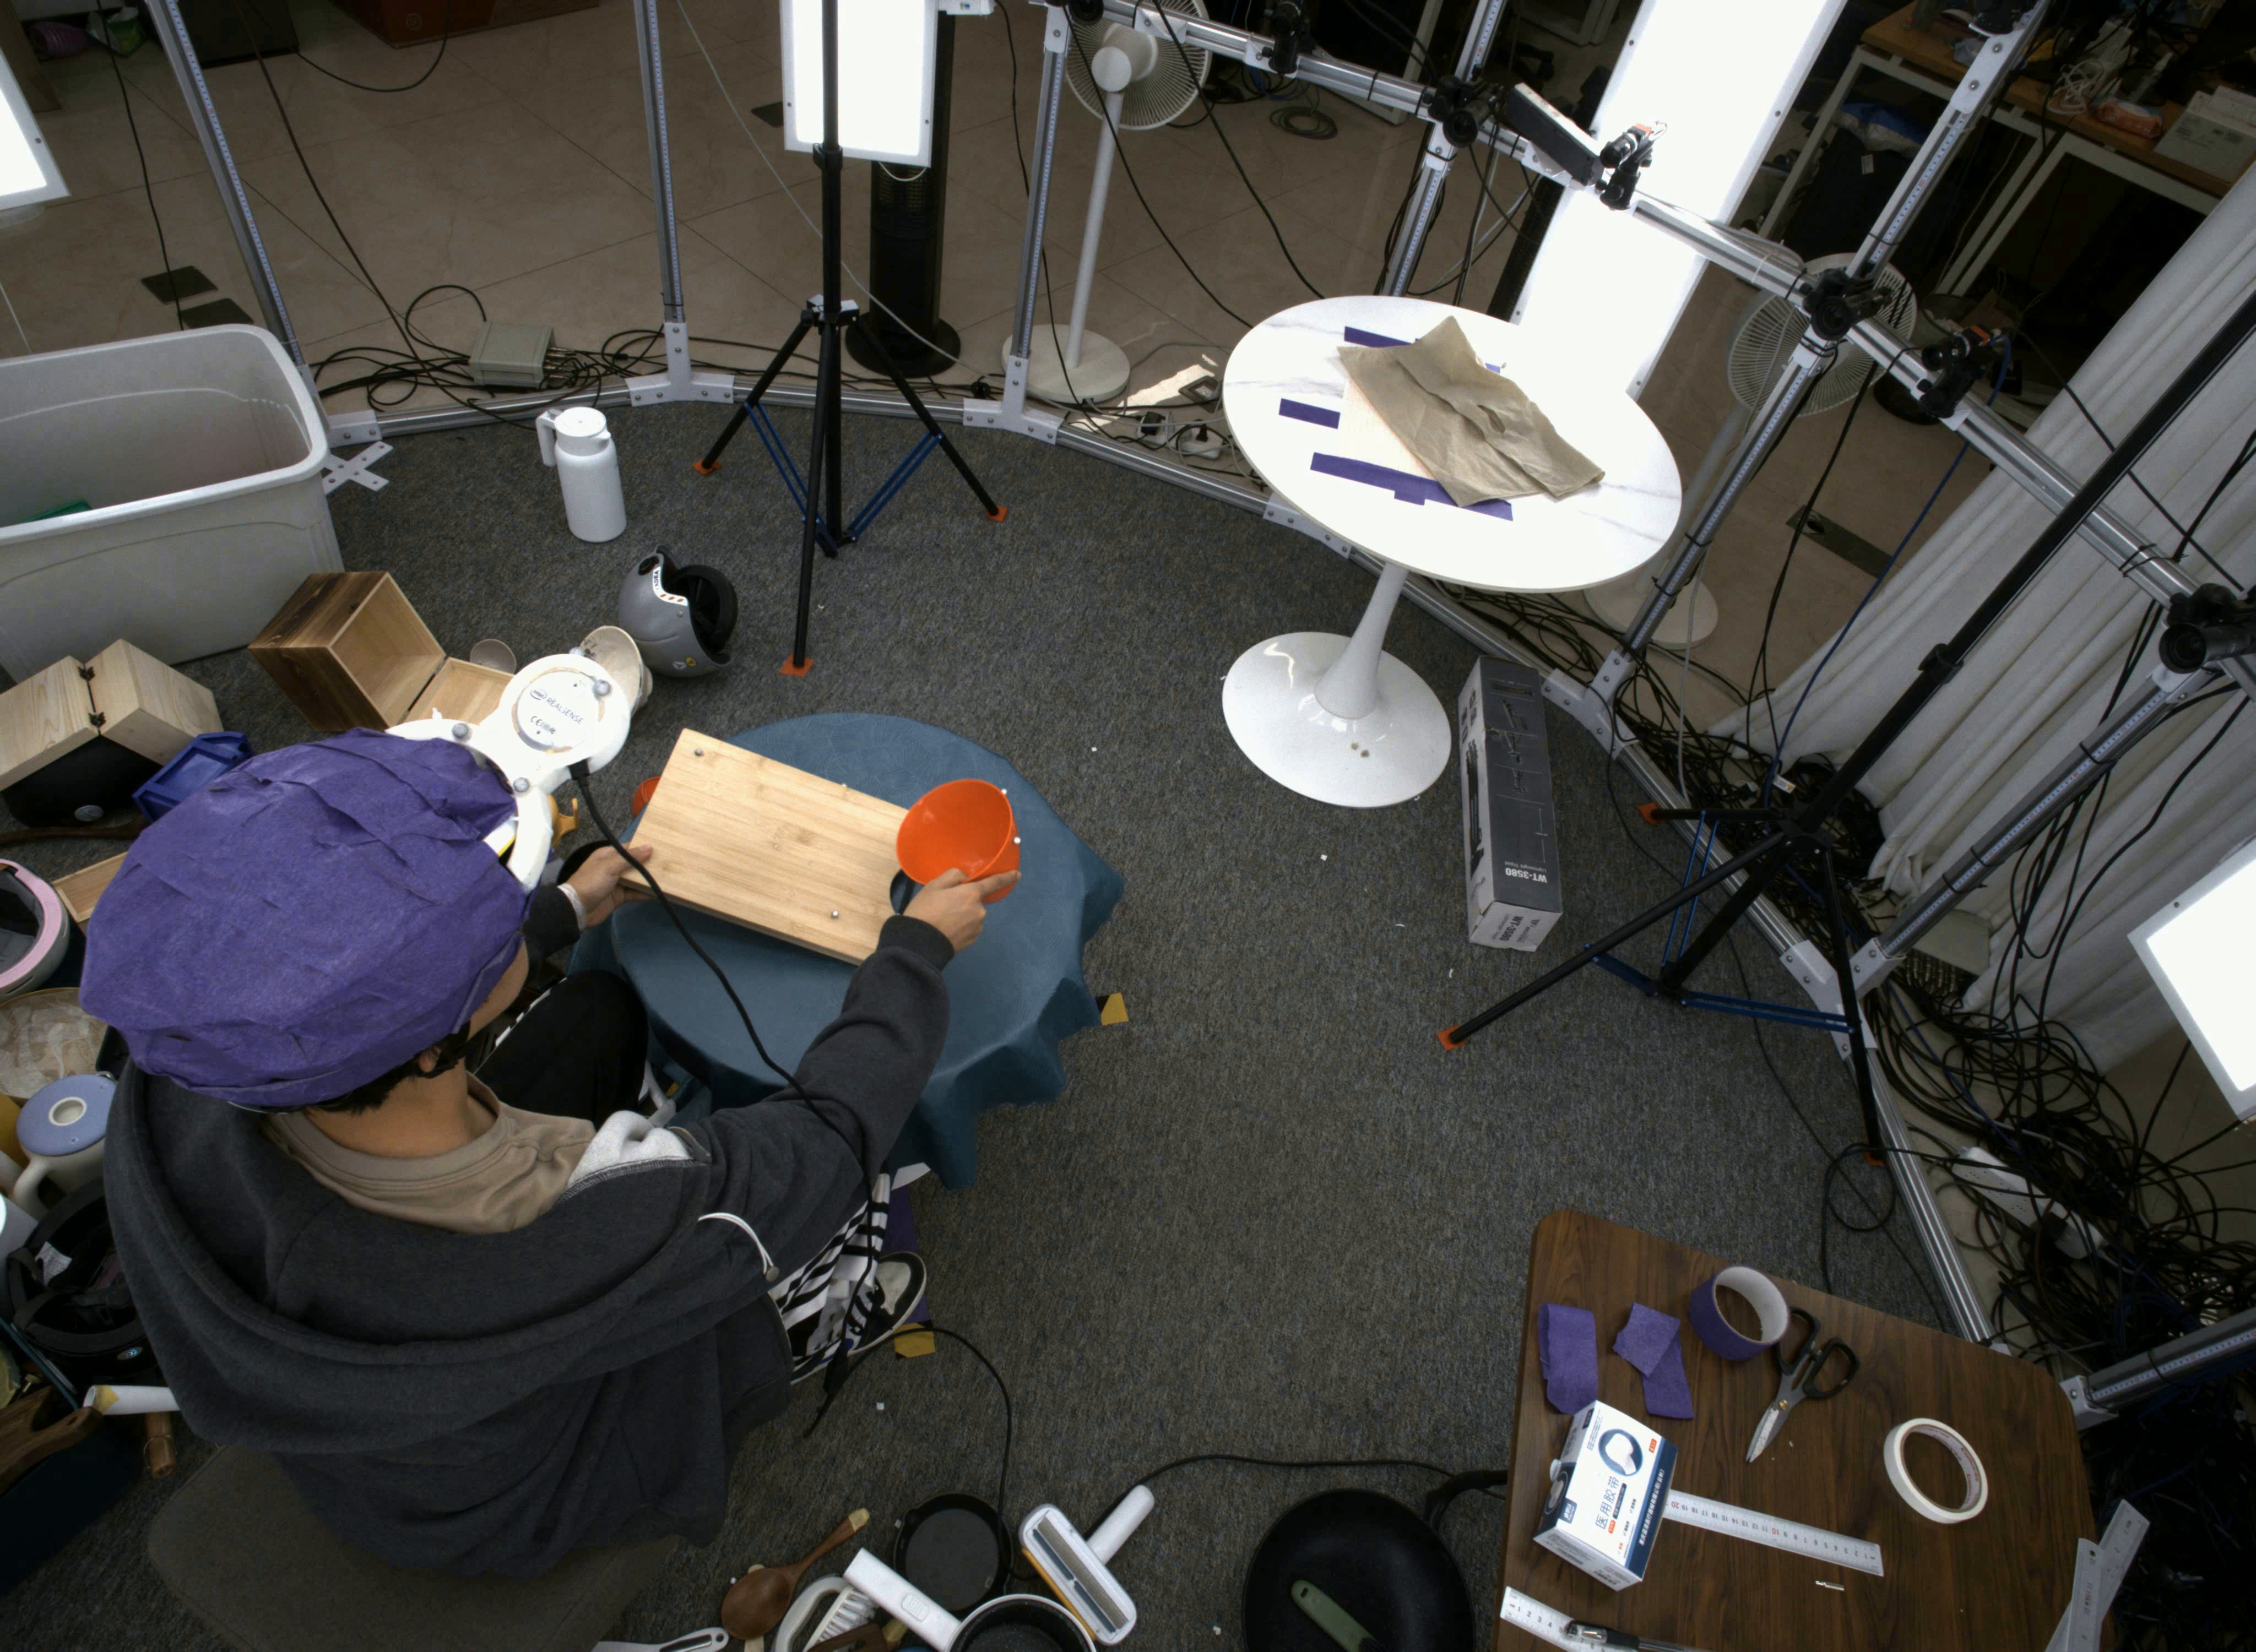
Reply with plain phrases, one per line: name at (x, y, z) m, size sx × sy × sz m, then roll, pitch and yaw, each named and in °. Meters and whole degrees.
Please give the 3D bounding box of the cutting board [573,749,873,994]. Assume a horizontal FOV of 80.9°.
cutting board at (-0.489, 0.052, 1.611) m, size 0.352 × 0.024 × 0.247 m, roll 18°, pitch 52°, yaw -18°

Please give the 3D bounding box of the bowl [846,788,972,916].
bowl at (-0.244, 0.041, 1.535) m, size 0.145 × 0.109 × 0.145 m, roll -14°, pitch 47°, yaw 16°
